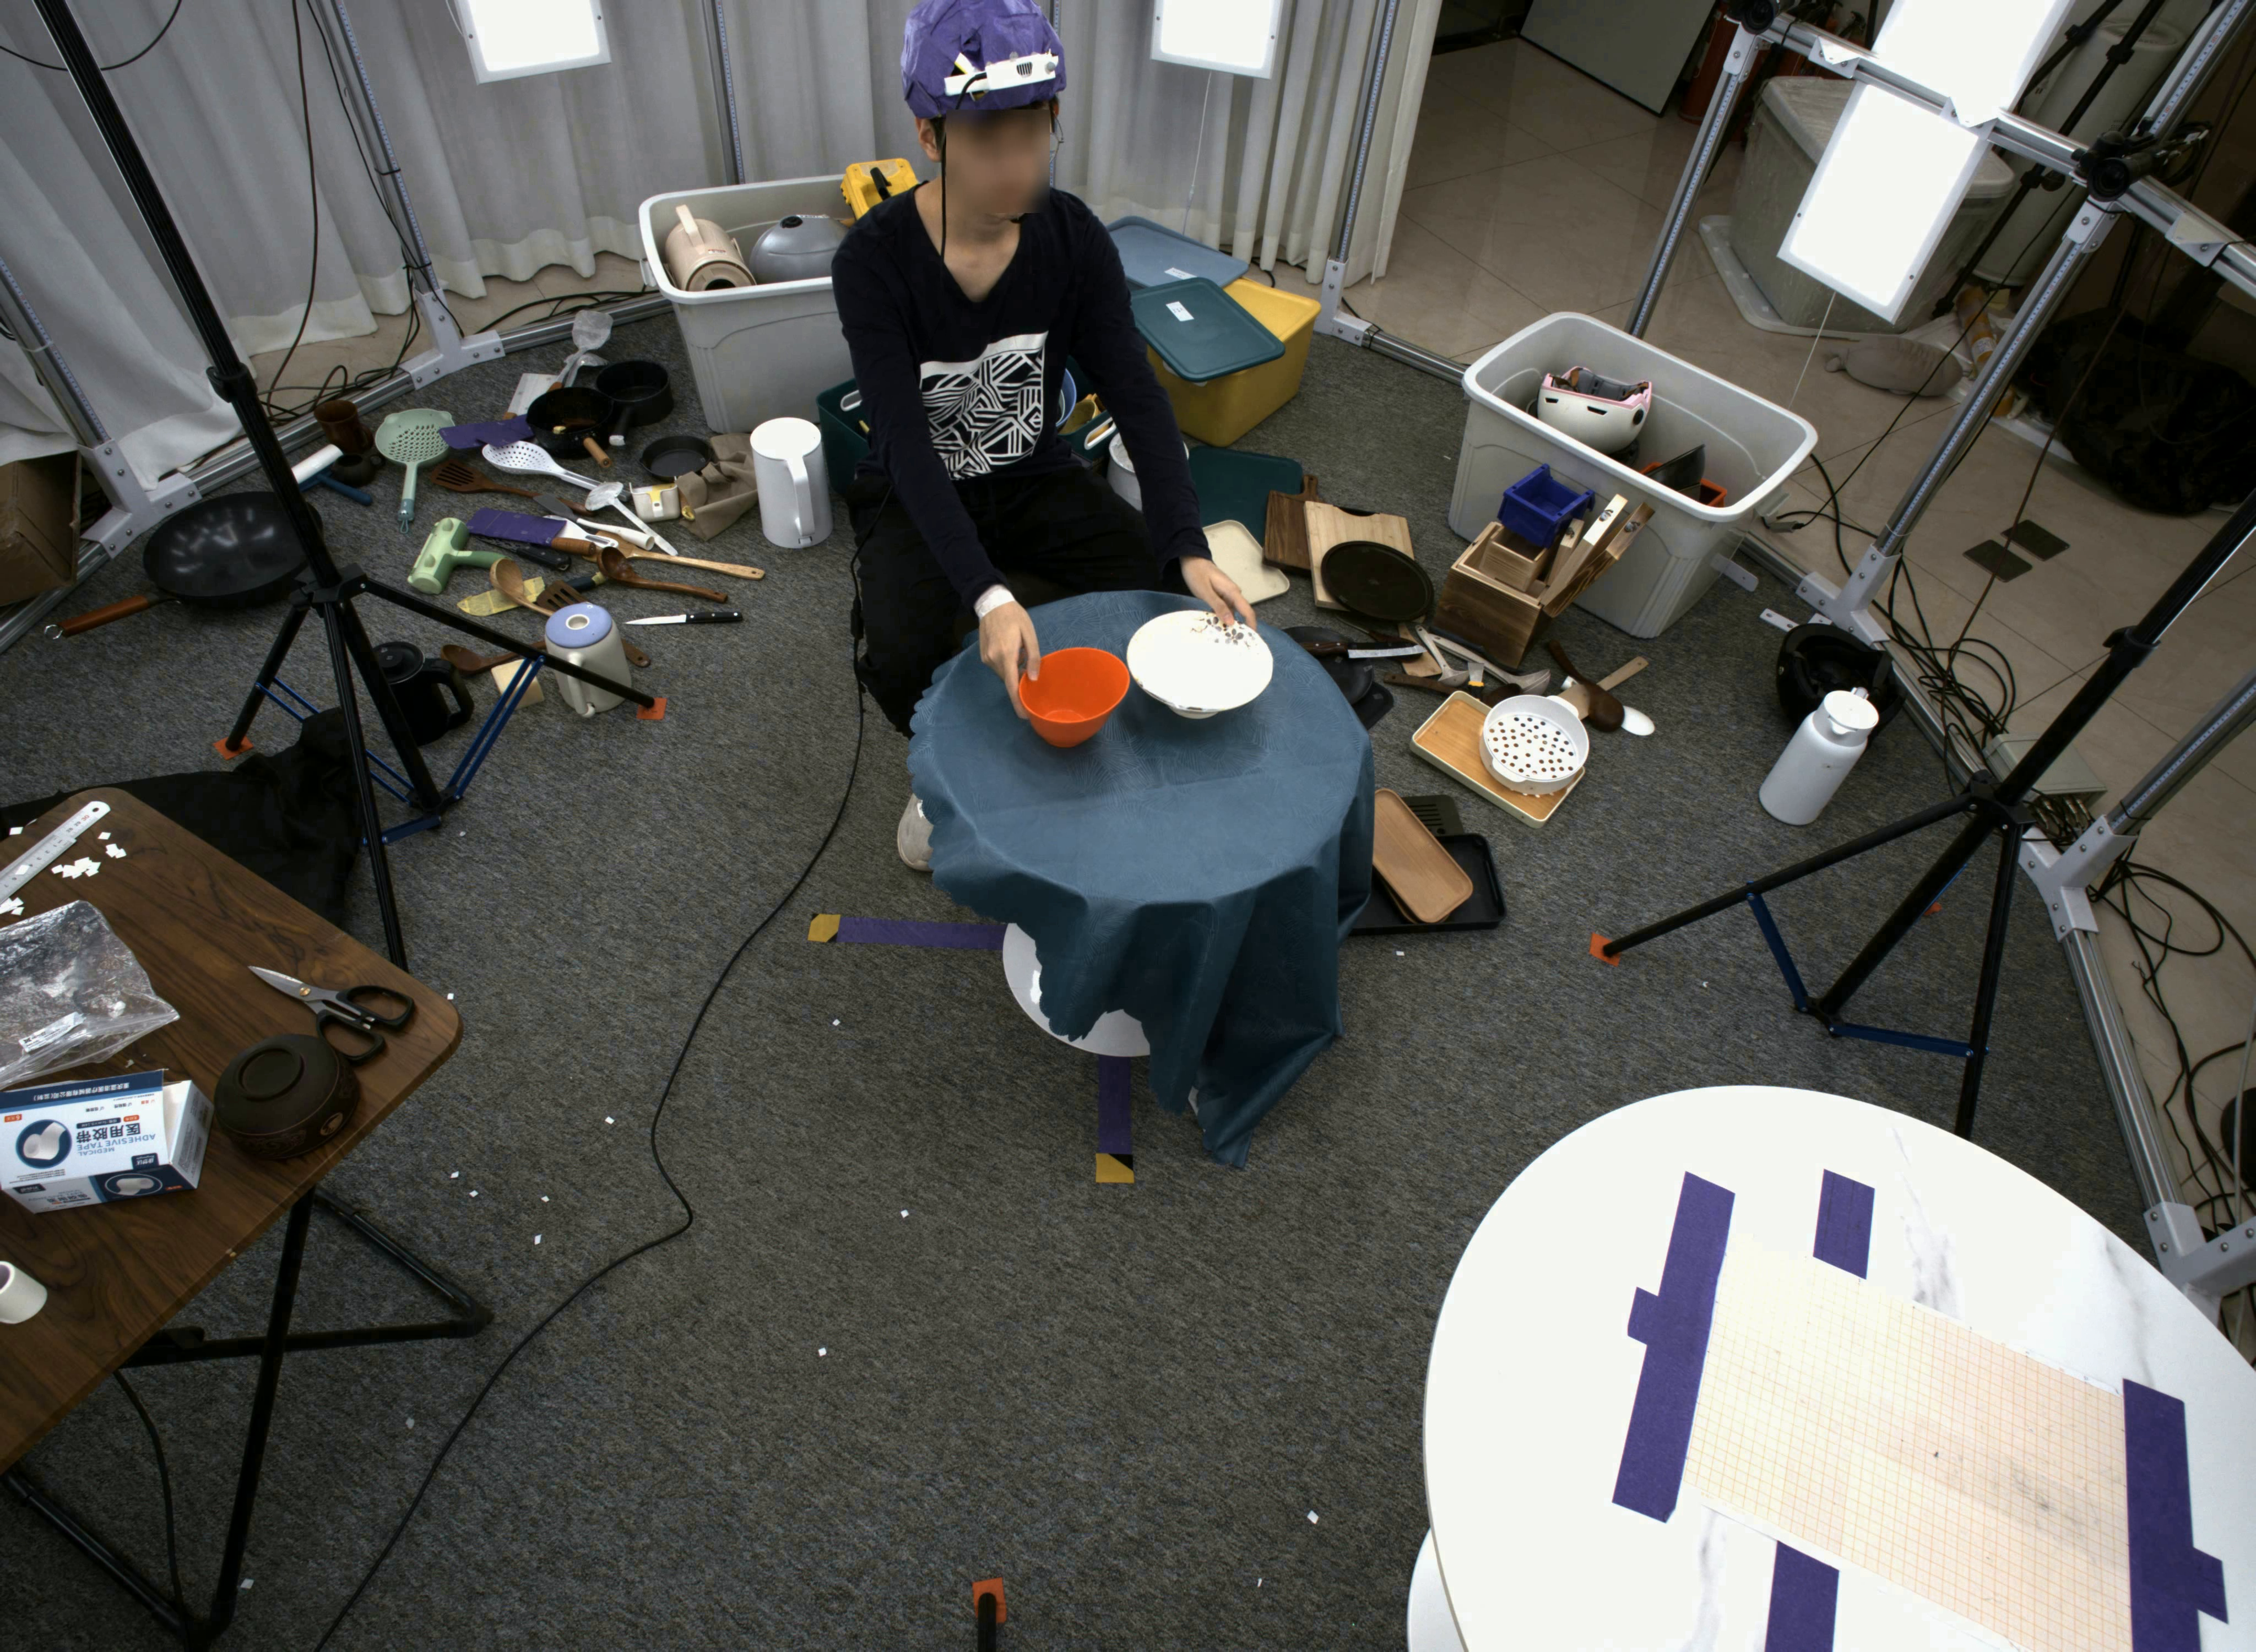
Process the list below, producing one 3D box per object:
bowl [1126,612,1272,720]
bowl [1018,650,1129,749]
[{"bbox_3d":[0.096,-0.206,1.803,0.204,0.076,0.209,2,48,-3],"label":"bowl"},{"bbox_3d":[-0.074,-0.161,1.738,0.148,0.102,0.152,1,48,-2],"label":"bowl"}]
